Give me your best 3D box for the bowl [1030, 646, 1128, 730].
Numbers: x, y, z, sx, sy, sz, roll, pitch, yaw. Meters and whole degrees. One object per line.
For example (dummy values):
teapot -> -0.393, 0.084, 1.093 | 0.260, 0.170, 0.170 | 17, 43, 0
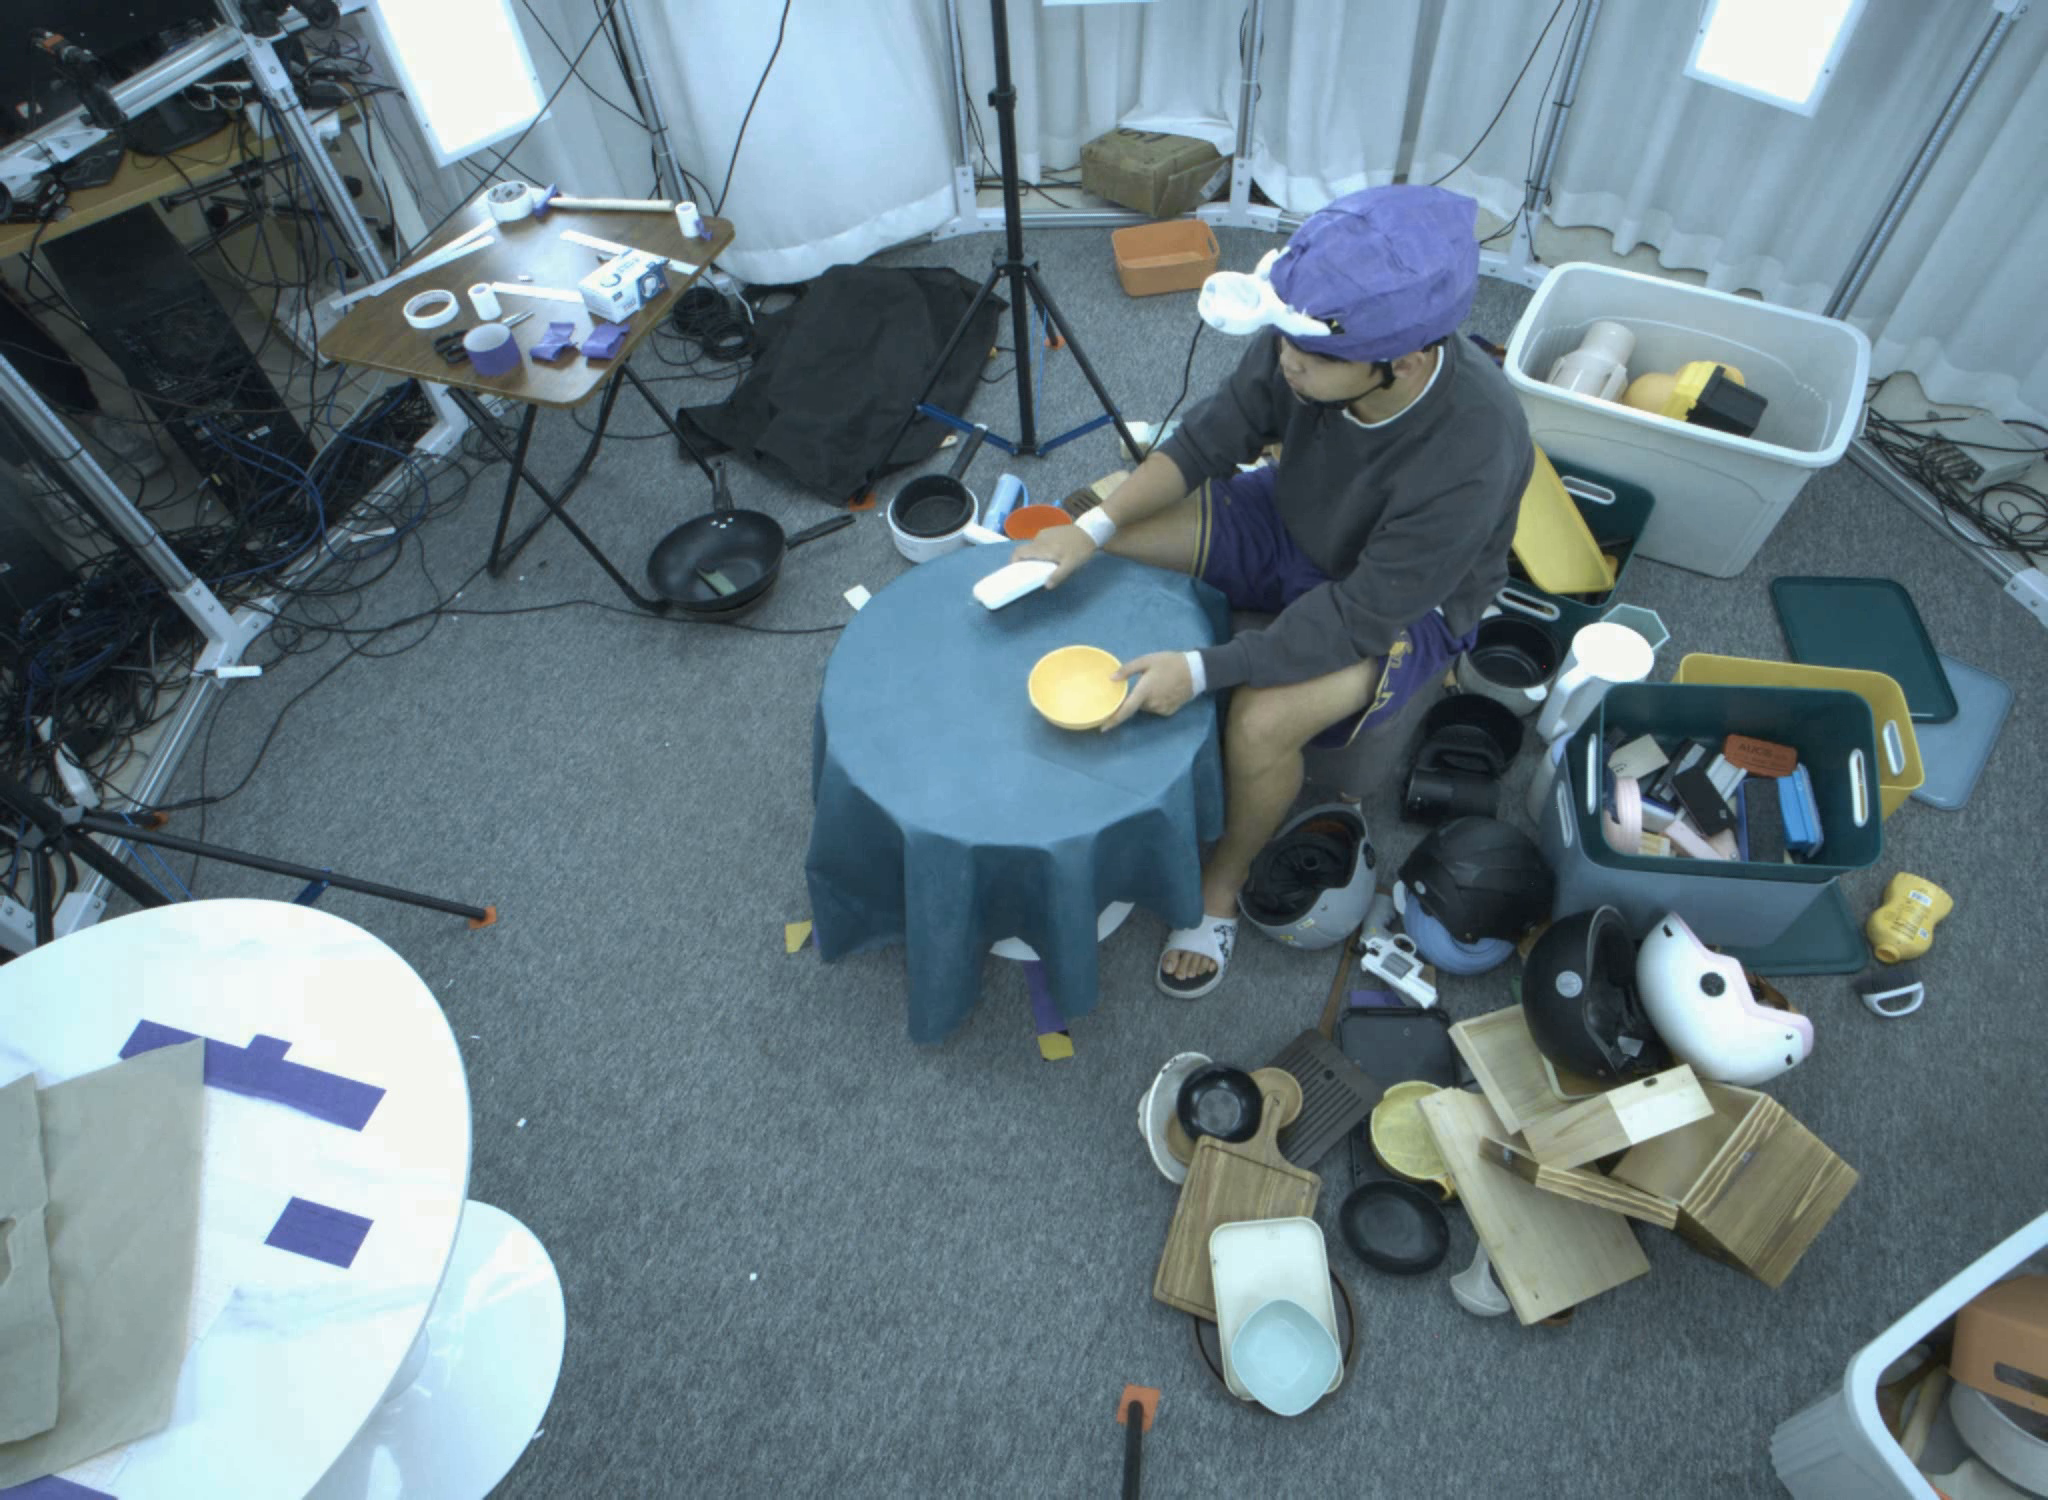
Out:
bowl -> 0.080, -0.079, 1.810 | 0.145, 0.060, 0.144 | 1, 55, 0

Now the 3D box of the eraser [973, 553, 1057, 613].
eraser -> -0.013, -0.263, 1.919 | 0.132, 0.035, 0.062 | -29, 45, -12
